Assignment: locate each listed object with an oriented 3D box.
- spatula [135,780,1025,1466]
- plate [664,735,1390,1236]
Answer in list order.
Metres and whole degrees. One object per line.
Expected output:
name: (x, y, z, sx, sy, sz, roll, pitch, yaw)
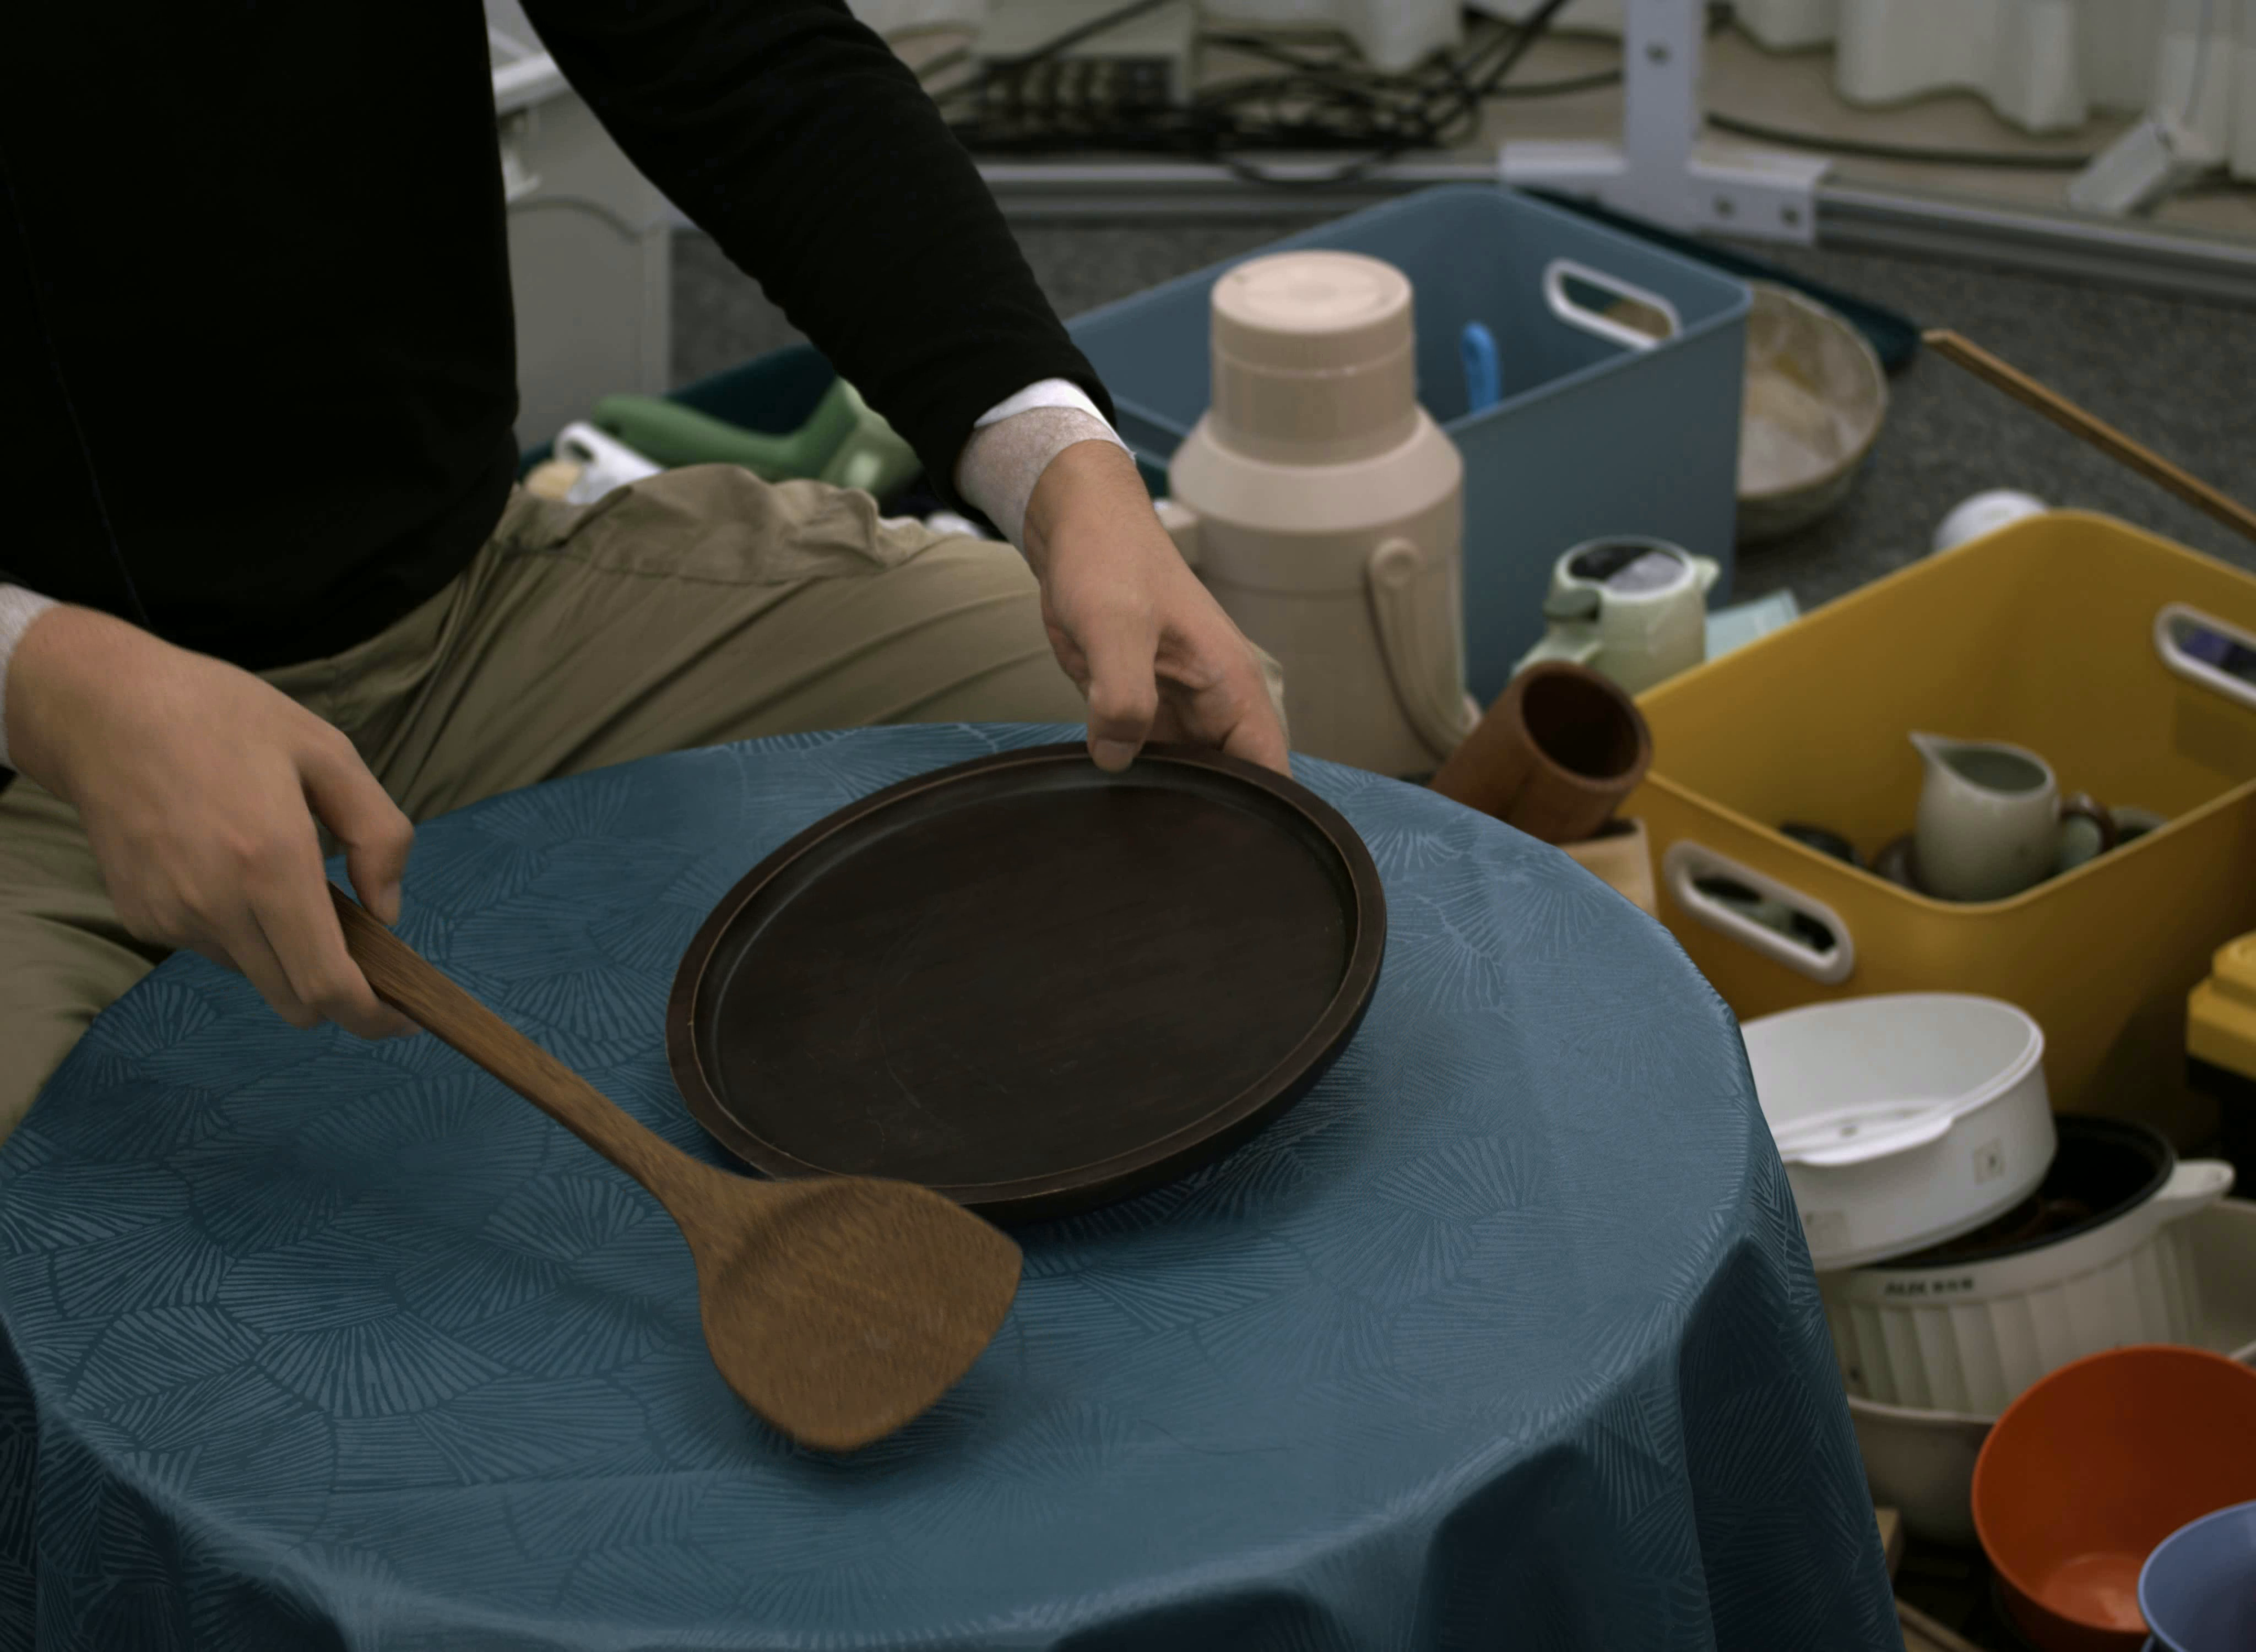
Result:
spatula: (-0.192, 0.082, 1.812, 0.386, 0.015, 0.097, 33, 67, 28)
plate: (-0.034, 0.055, 1.922, 0.253, 0.028, 0.259, -9, 36, 7)
